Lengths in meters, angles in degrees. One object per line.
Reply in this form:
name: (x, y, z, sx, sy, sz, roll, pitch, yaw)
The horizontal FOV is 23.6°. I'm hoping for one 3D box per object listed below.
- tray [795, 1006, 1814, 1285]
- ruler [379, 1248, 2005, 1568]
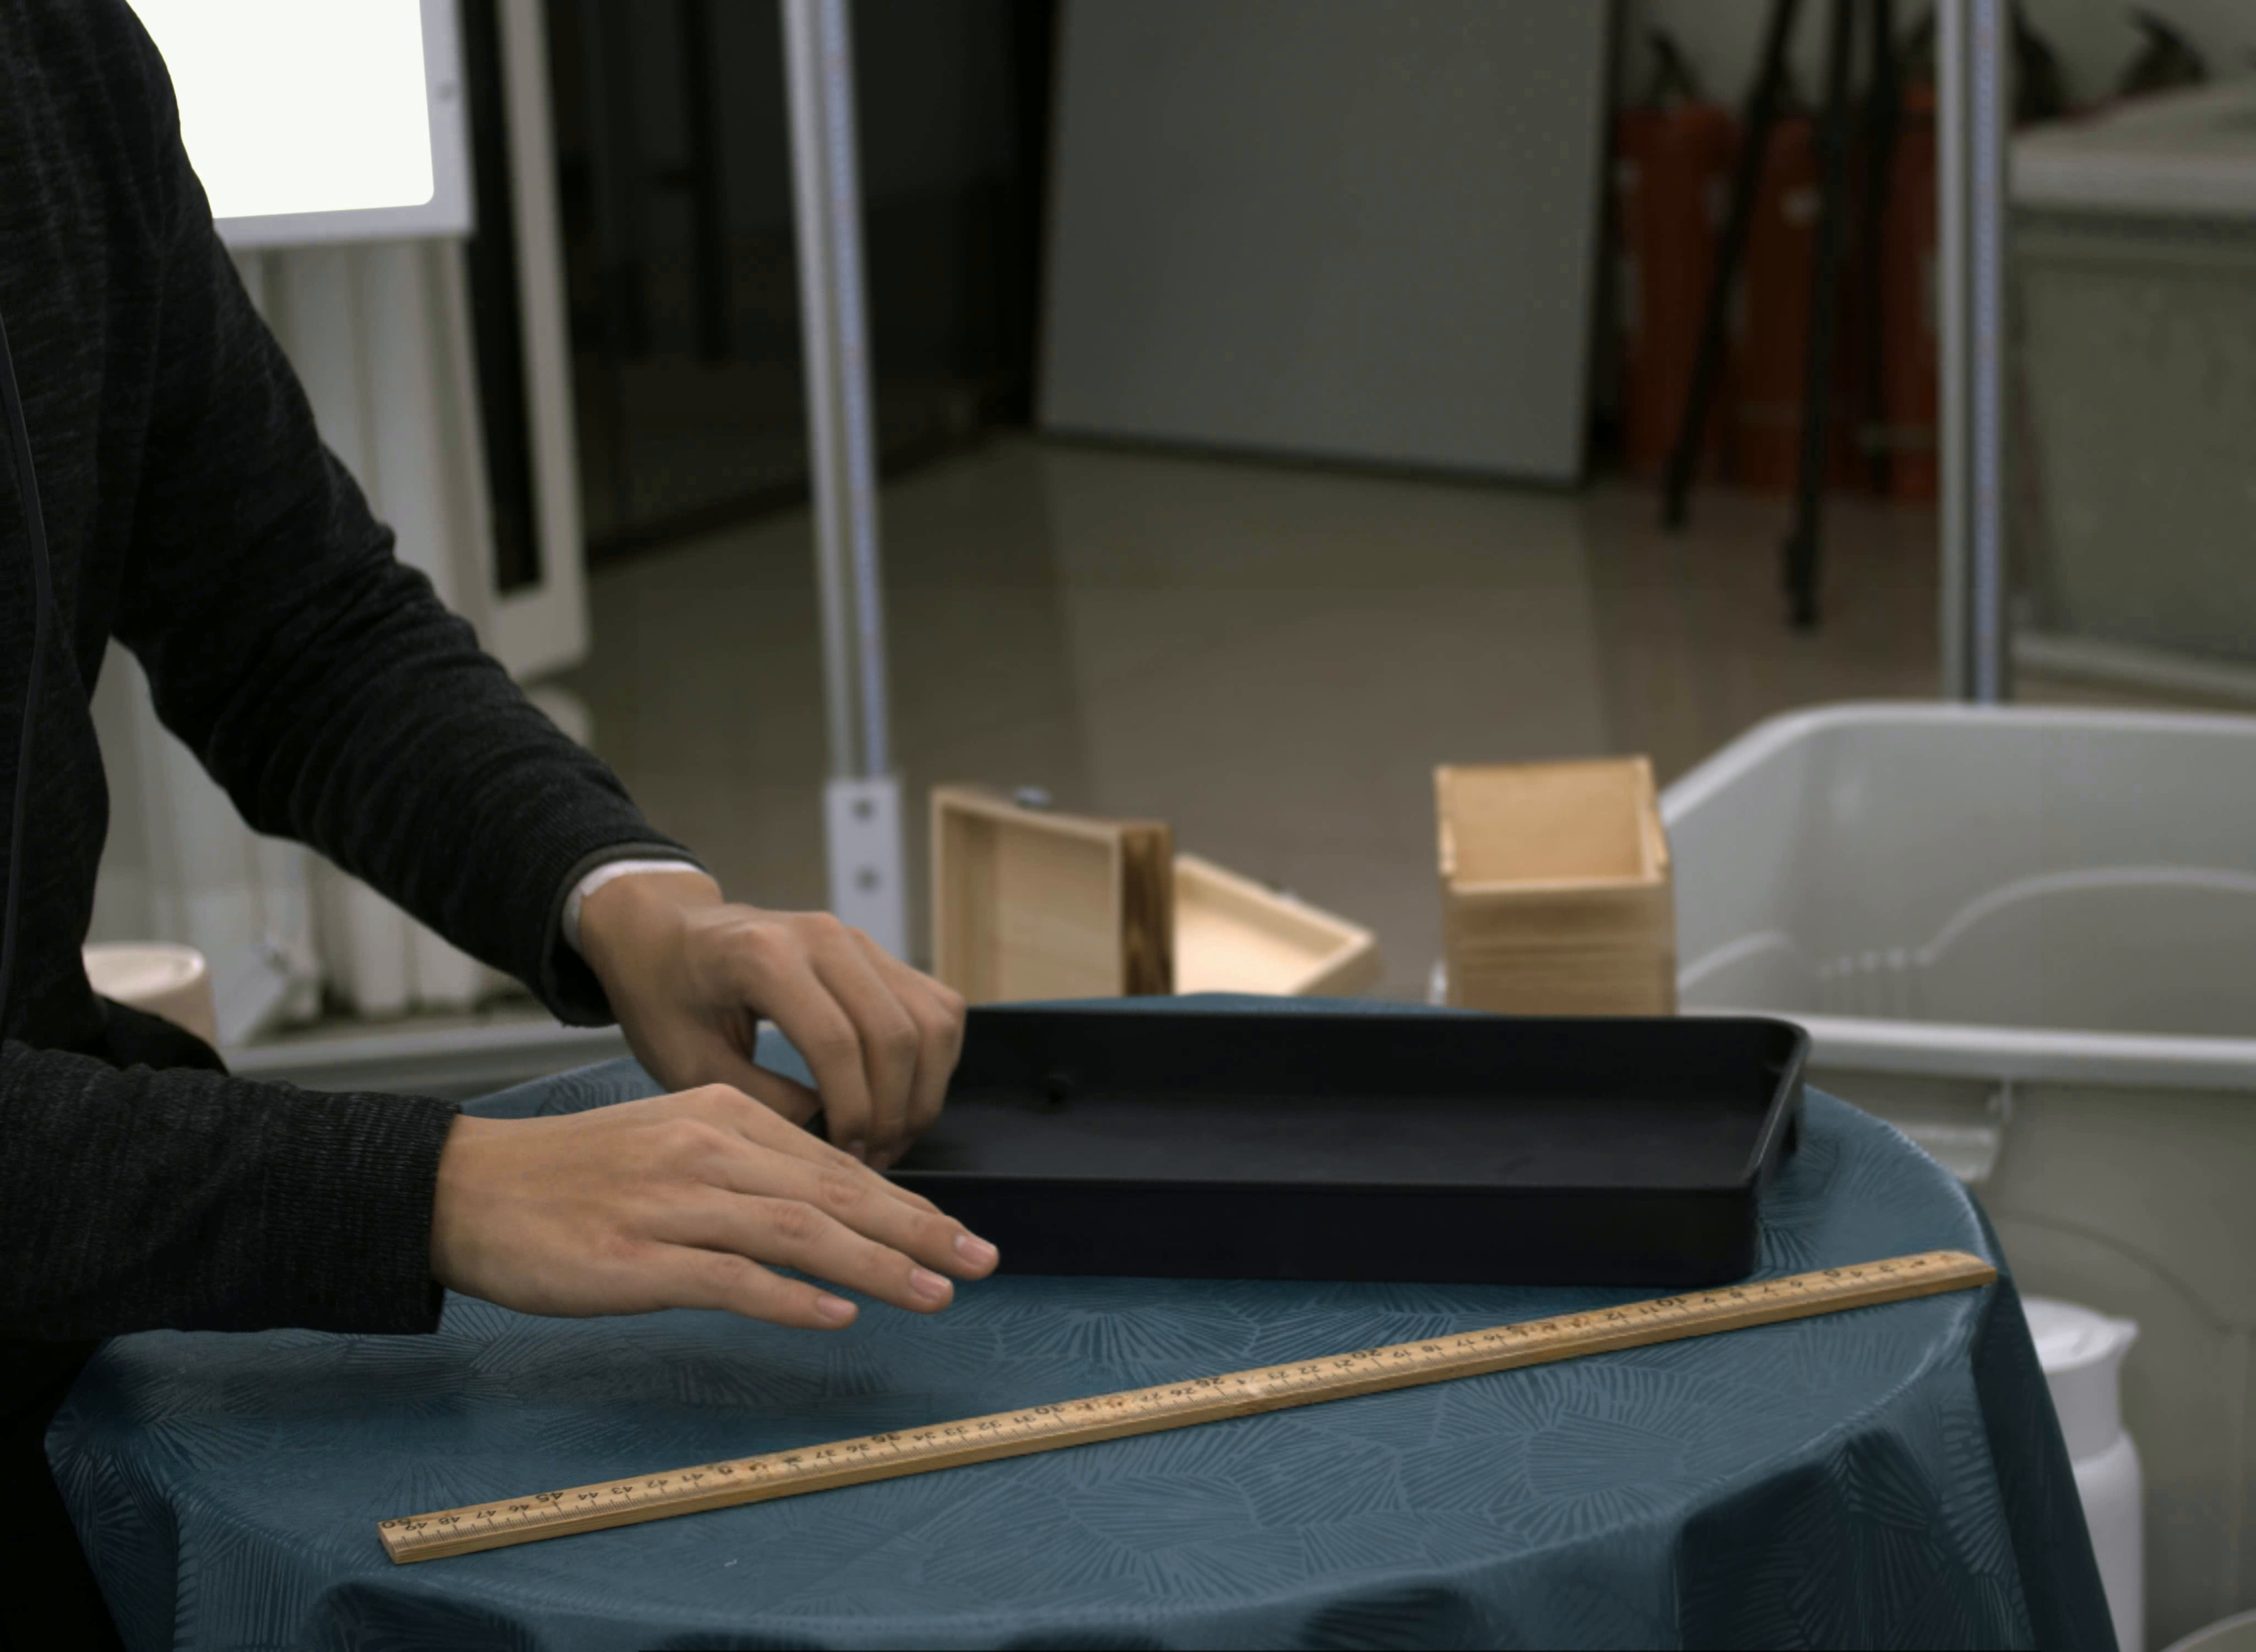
tray: (0.062, 0.102, 1.752, 0.316, 0.037, 0.183, -2, 14, 13)
ruler: (0.028, 0.166, 1.566, 0.490, 0.006, 0.027, -8, 12, -16)
